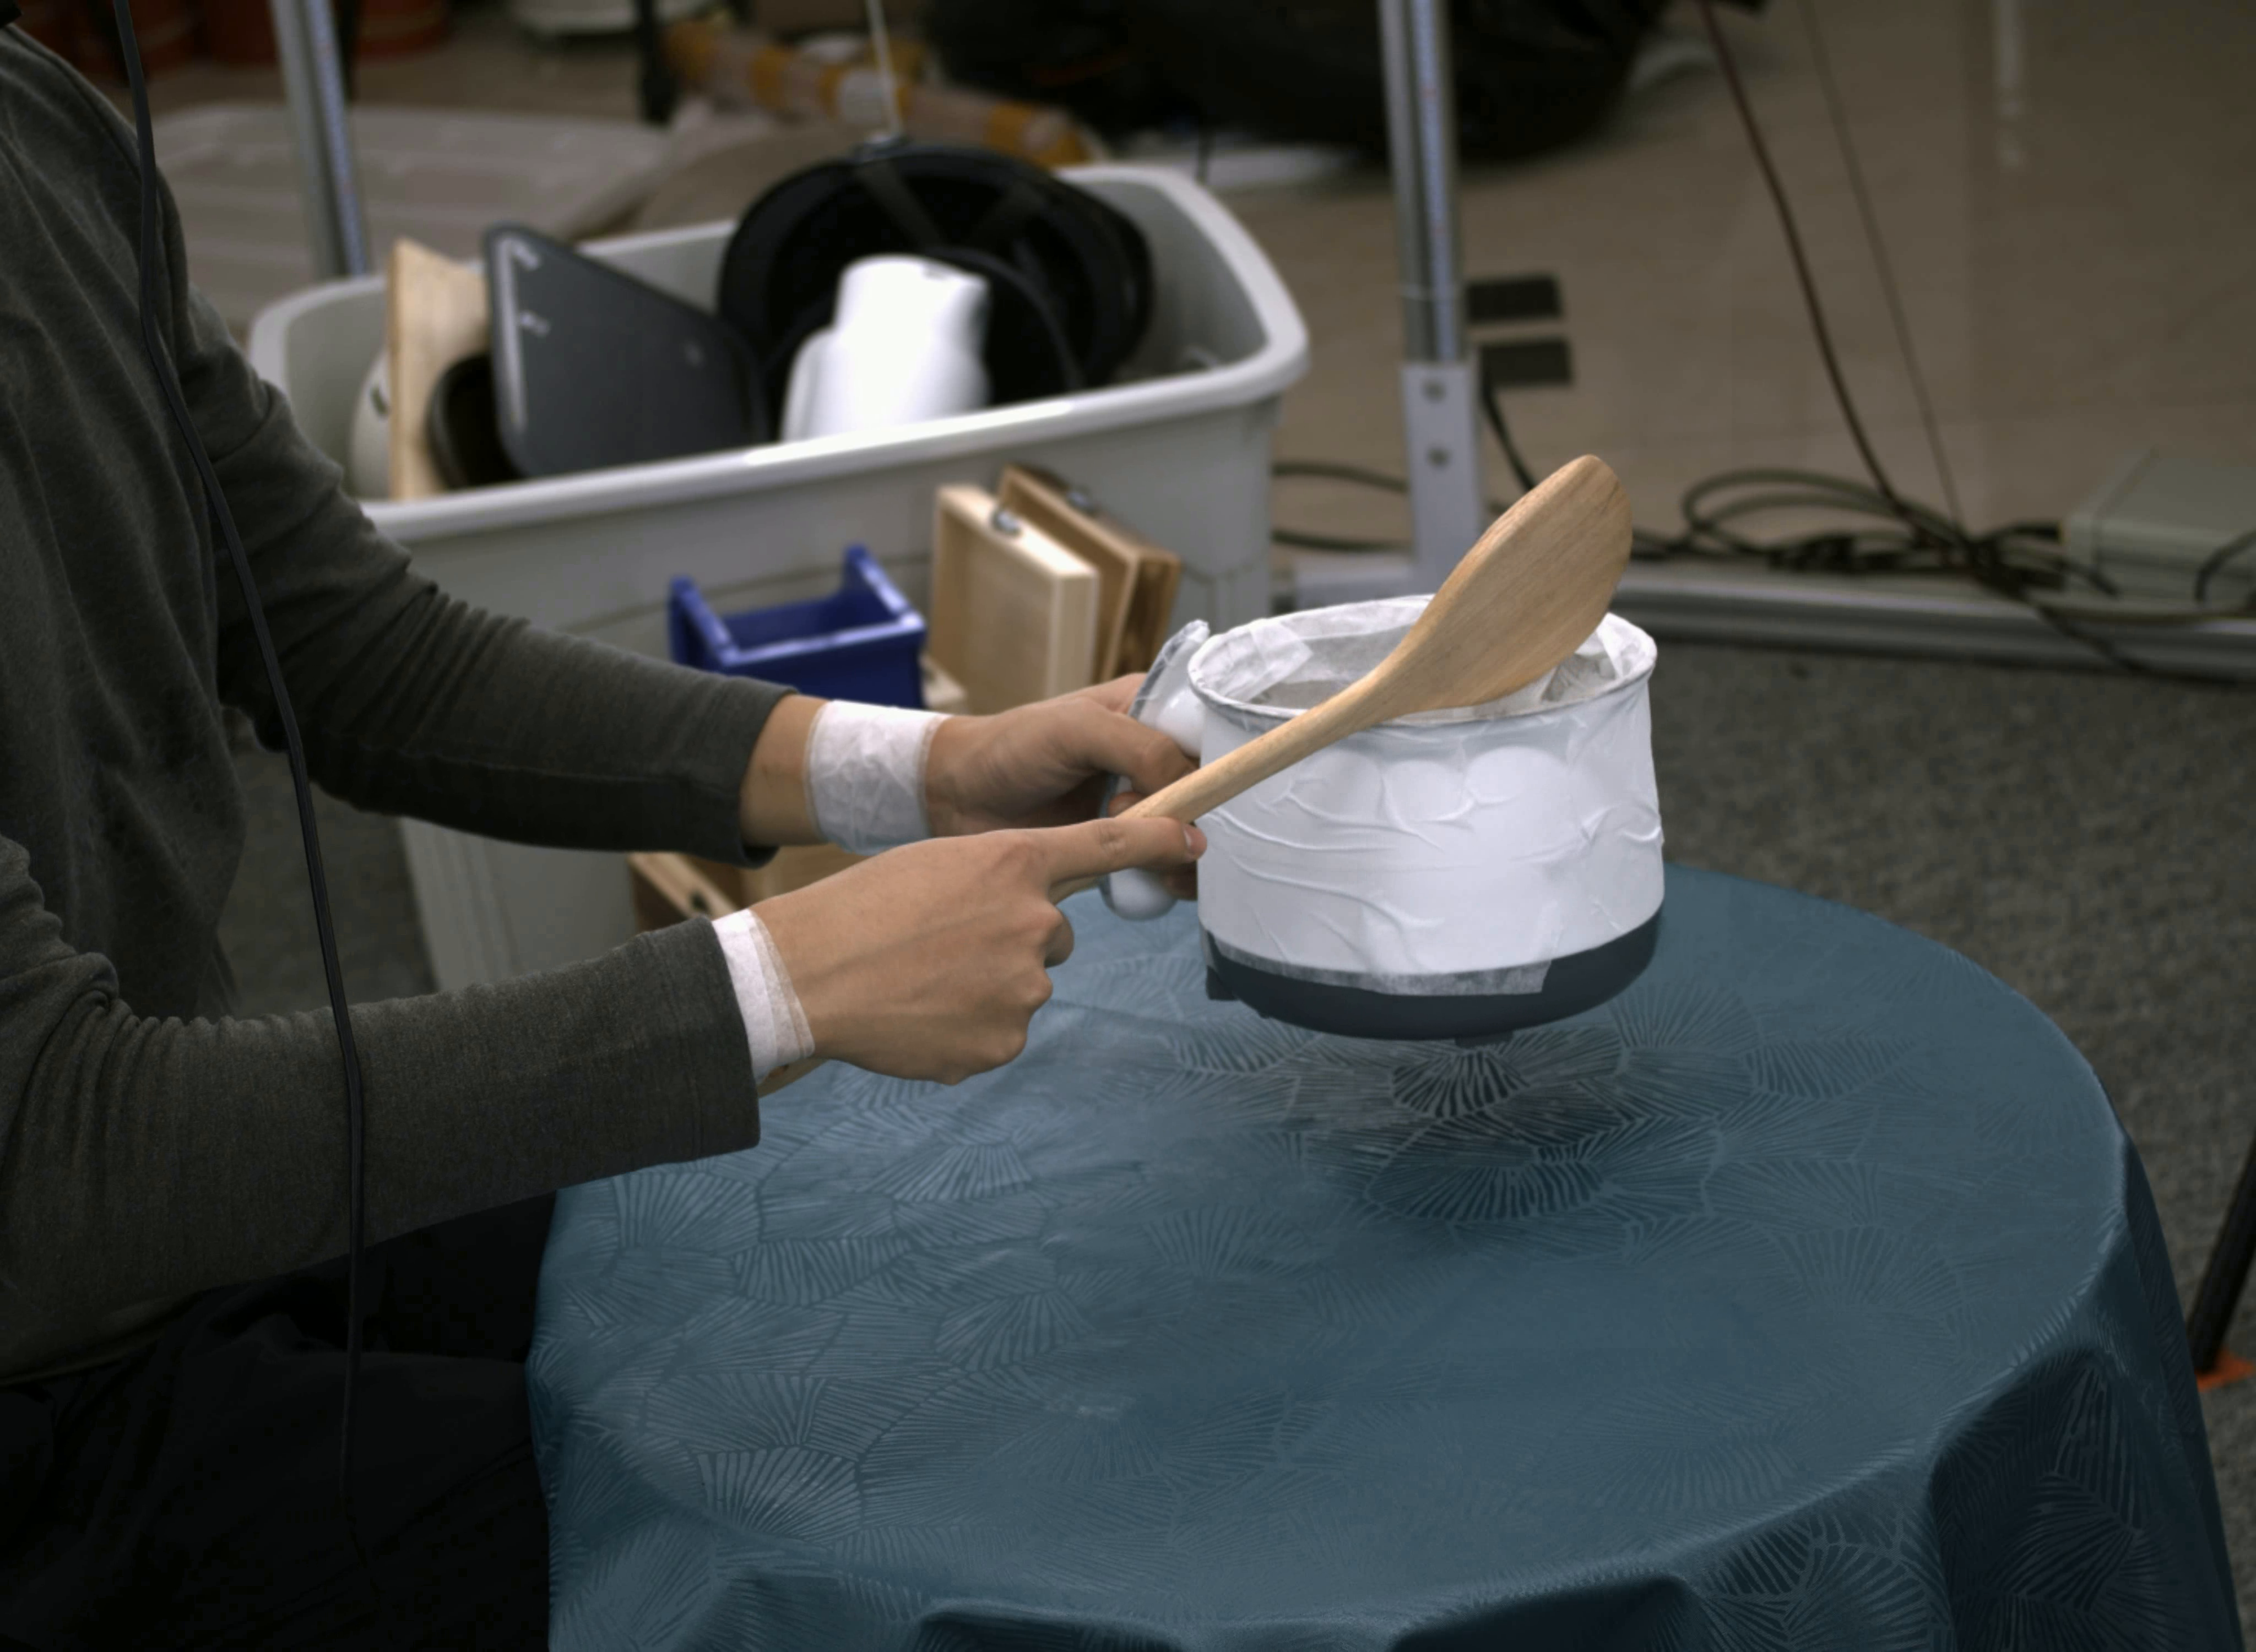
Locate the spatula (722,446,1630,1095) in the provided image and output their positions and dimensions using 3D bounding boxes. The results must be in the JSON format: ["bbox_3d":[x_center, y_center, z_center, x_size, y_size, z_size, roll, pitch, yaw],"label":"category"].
[{"bbox_3d":[0.020,-0.014,2.014,0.389,0.097,0.018,-31,54,-11],"label":"spatula"}]

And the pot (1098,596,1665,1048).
[{"bbox_3d":[0.090,-0.005,2.155,0.233,0.138,0.177,7,20,30],"label":"pot"}]
